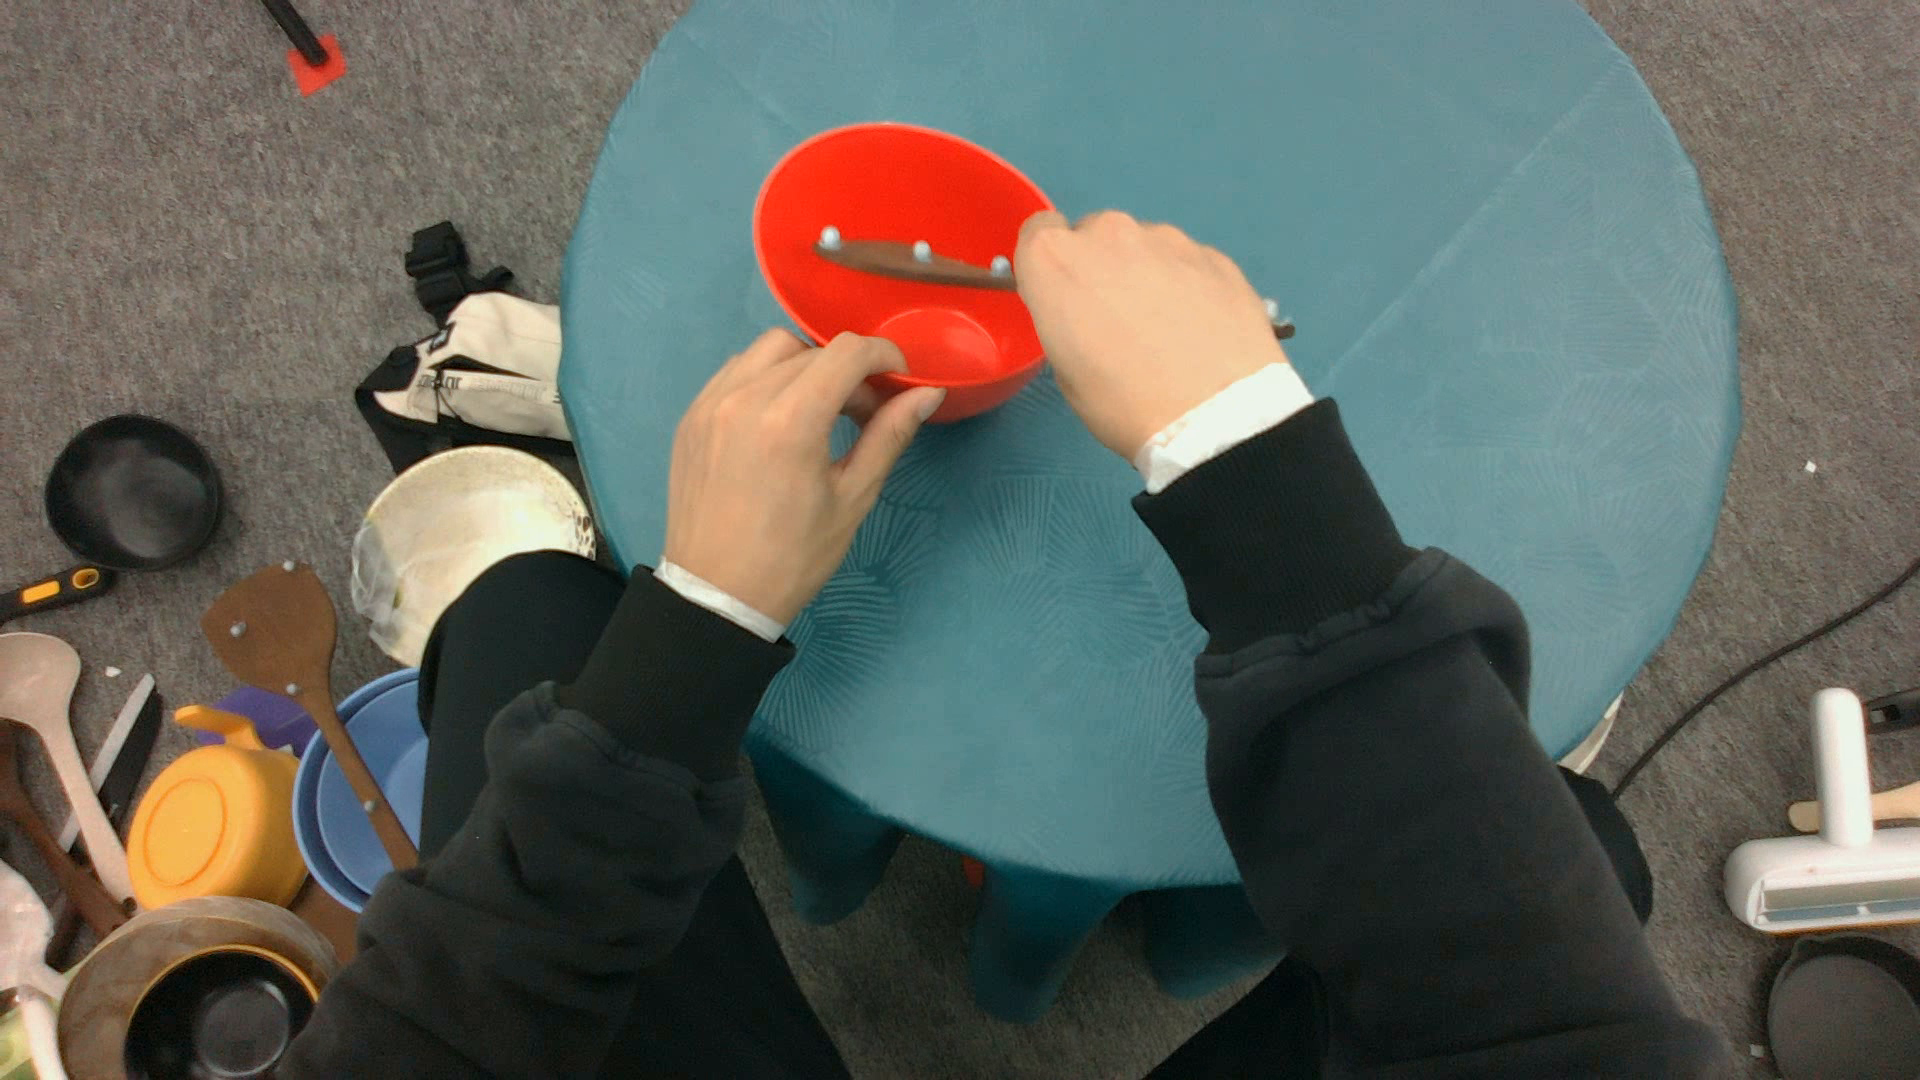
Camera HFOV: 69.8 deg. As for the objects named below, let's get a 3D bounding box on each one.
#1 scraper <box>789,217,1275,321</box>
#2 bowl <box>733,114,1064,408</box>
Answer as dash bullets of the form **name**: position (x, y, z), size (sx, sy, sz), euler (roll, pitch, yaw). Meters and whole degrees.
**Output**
- **scraper**: position (0.027, -0.111, 0.561), size (0.211, 0.076, 0.011), euler (18, 111, 30)
- **bowl**: position (-0.029, -0.116, 0.644), size (0.148, 0.104, 0.148), euler (3, 61, -5)
